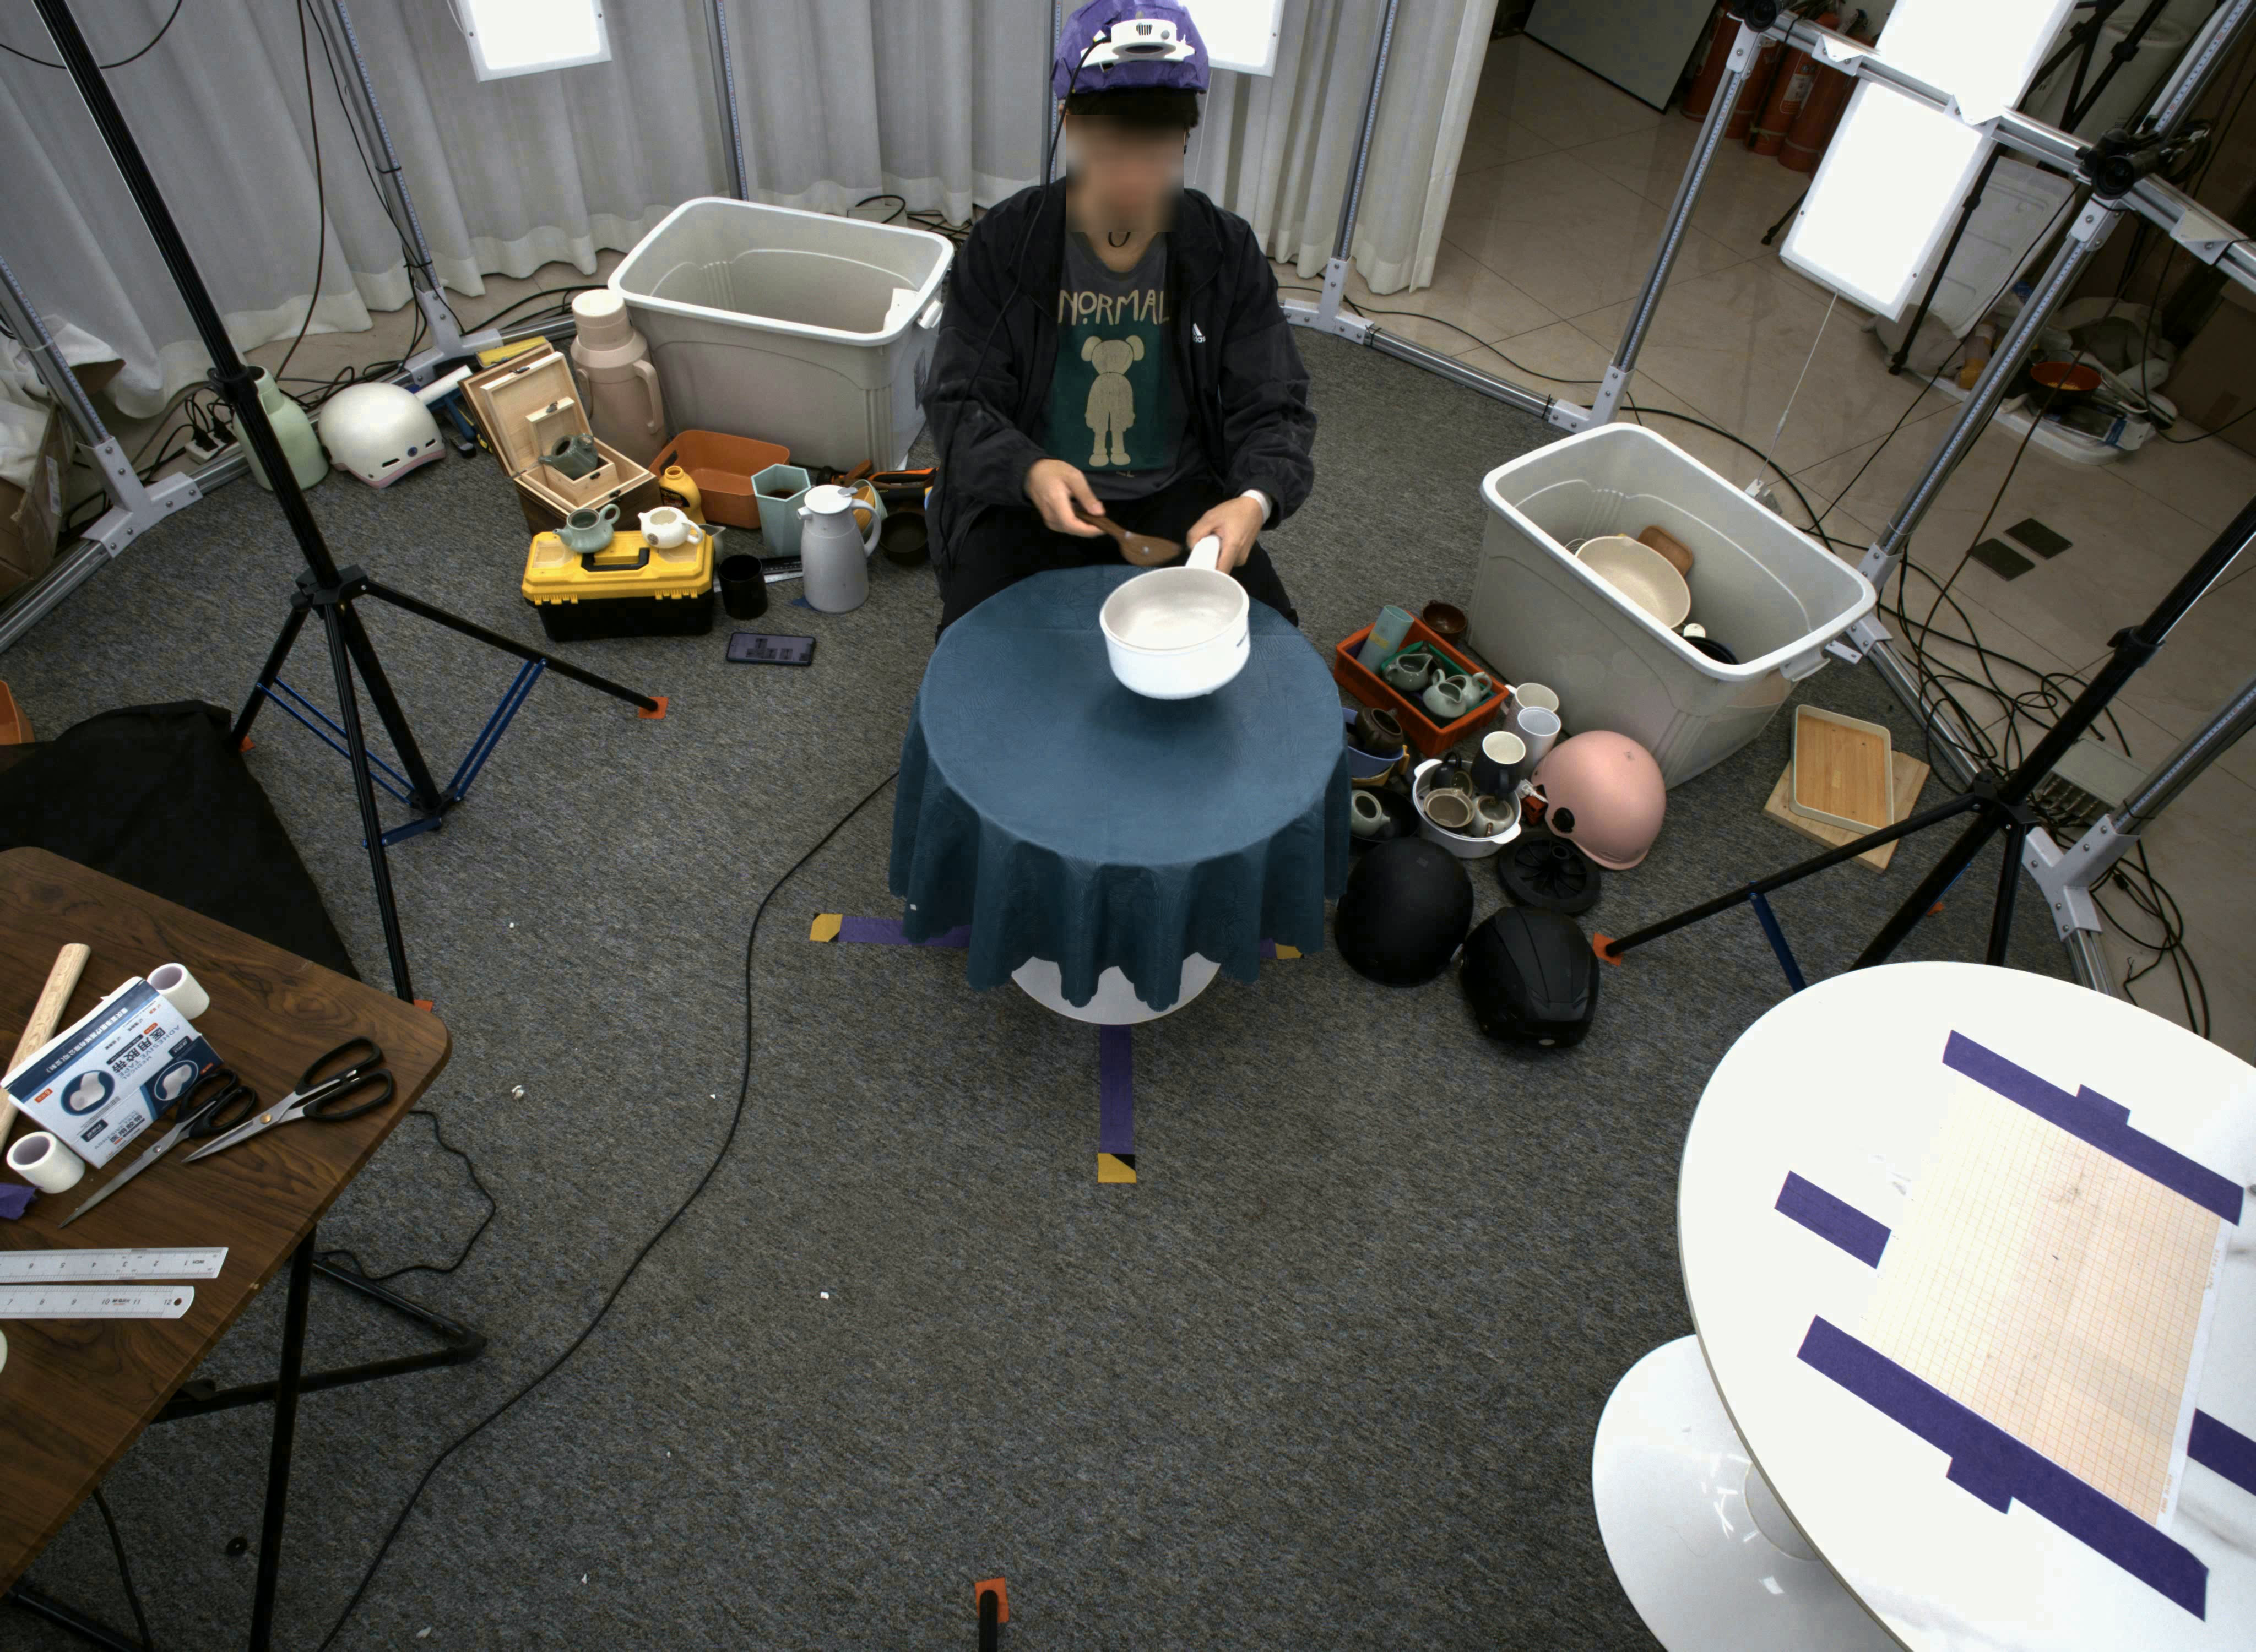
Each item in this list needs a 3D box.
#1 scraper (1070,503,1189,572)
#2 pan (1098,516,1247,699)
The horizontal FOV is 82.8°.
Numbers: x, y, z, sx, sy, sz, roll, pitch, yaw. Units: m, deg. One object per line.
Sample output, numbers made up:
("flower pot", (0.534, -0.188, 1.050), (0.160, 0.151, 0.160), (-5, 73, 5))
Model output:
("scraper", (-0.007, -0.391, 1.725), (0.076, 0.010, 0.215), (-33, 48, -22))
("pan", (0.089, -0.310, 1.813), (0.202, 0.099, 0.362), (6, 42, 19))
